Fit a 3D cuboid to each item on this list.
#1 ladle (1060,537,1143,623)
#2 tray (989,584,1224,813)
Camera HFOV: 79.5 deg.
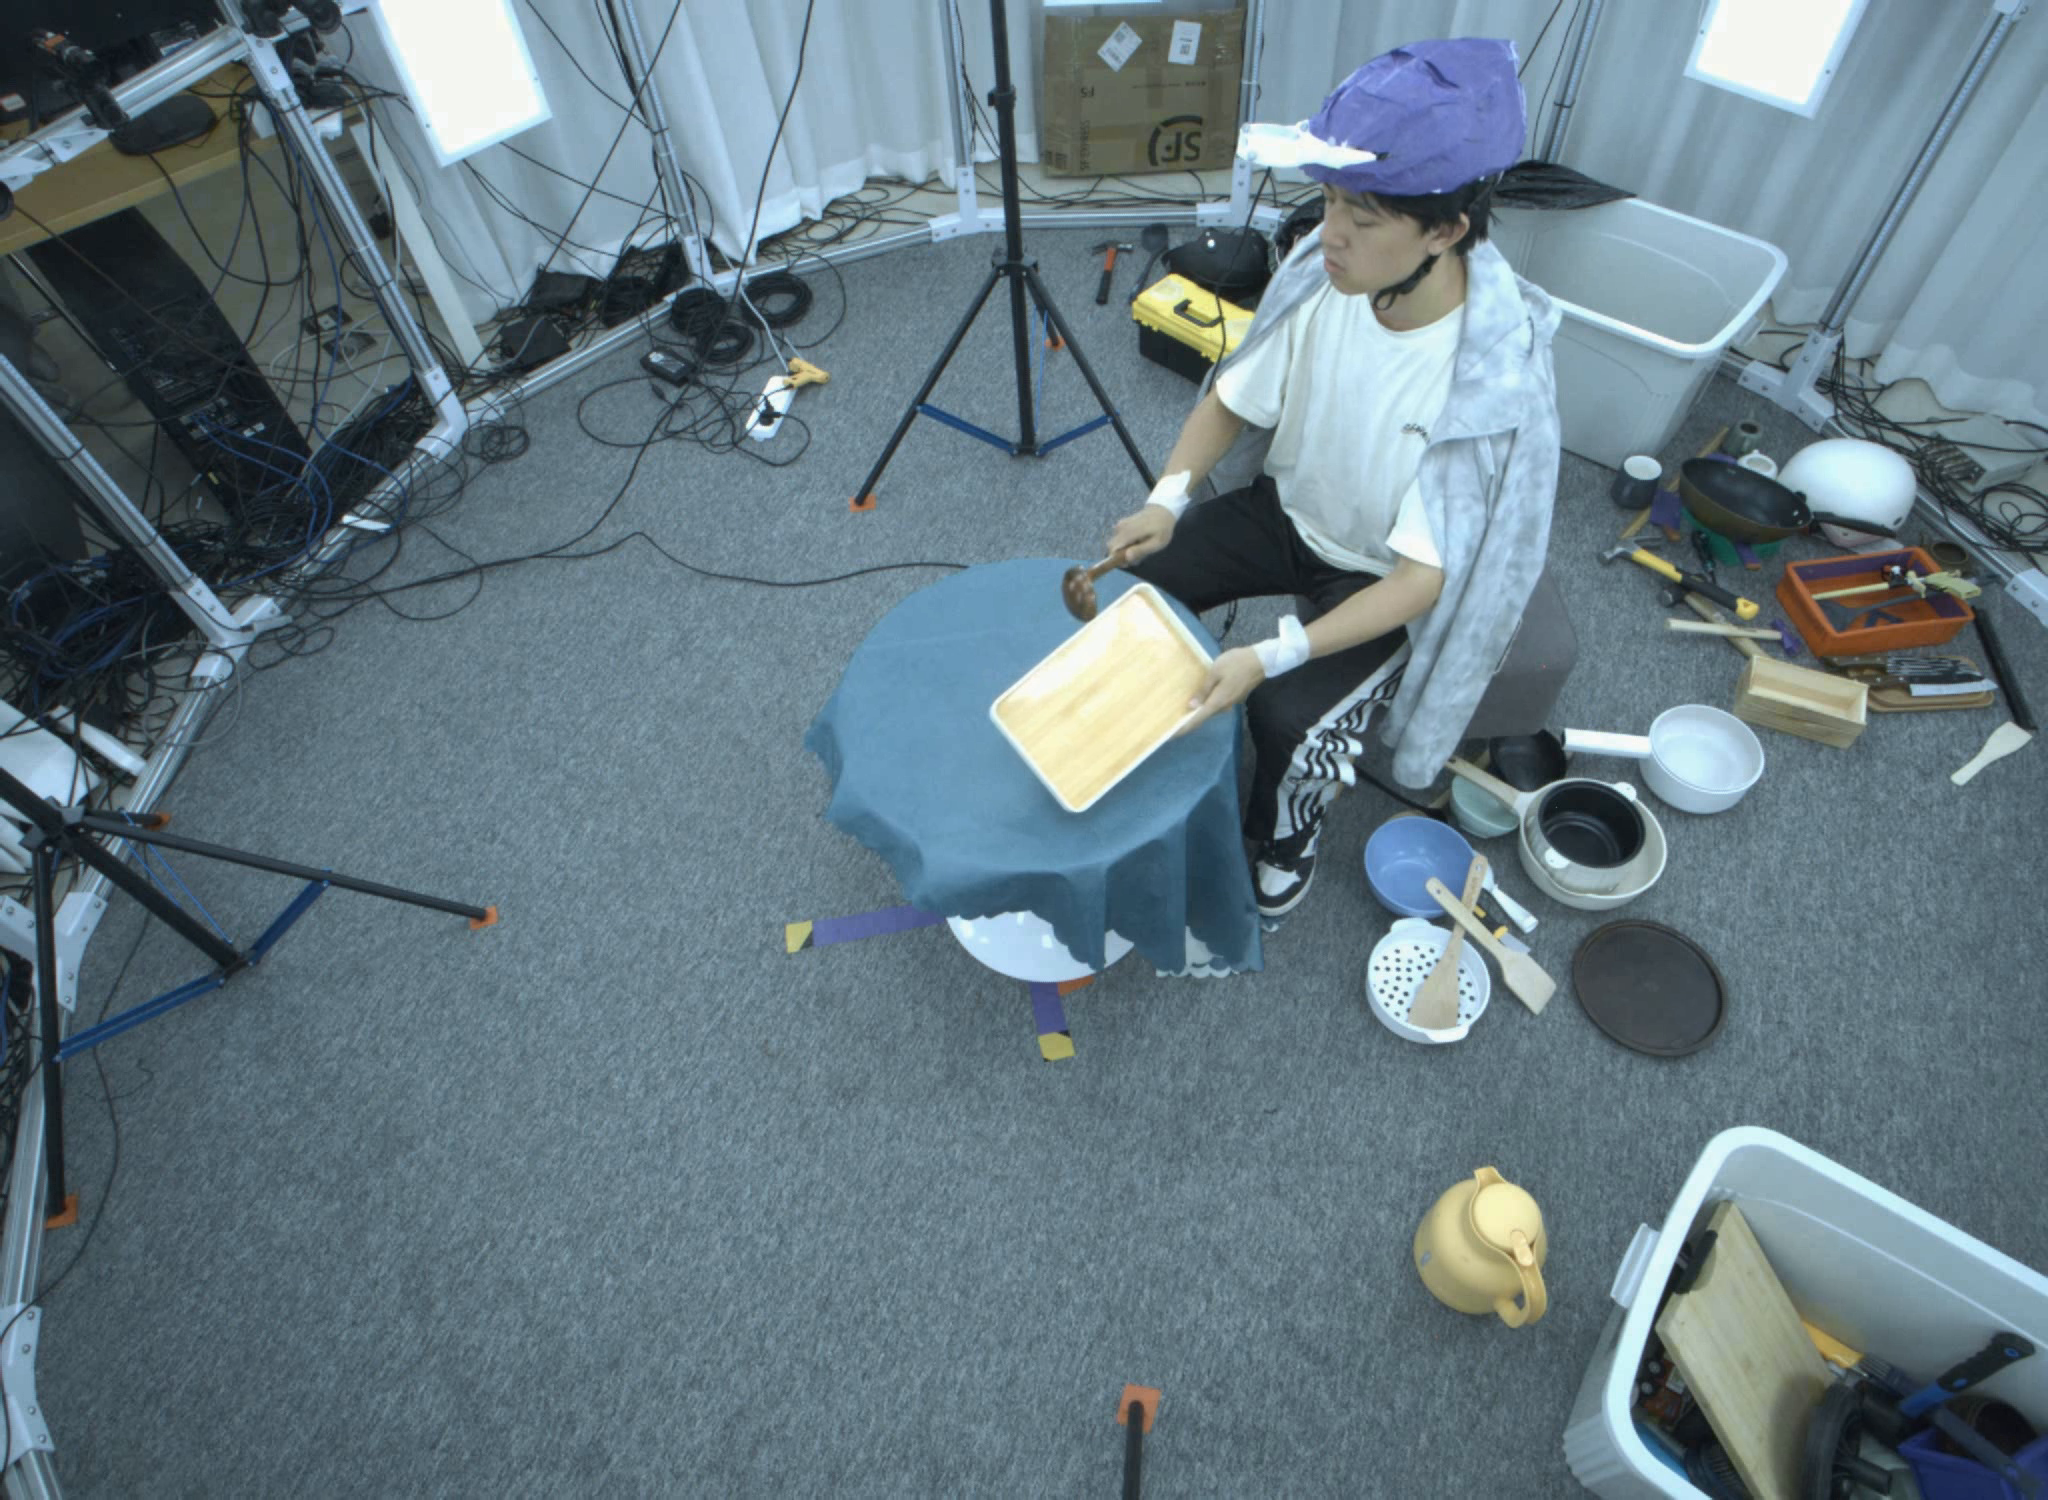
[{"bbox_3d":[0.133,-0.261,1.782,0.075,0.082,0.277,16,33,29],"label":"ladle"},{"bbox_3d":[0.117,-0.073,1.695,0.302,0.027,0.192,-40,95,-17],"label":"tray"}]
